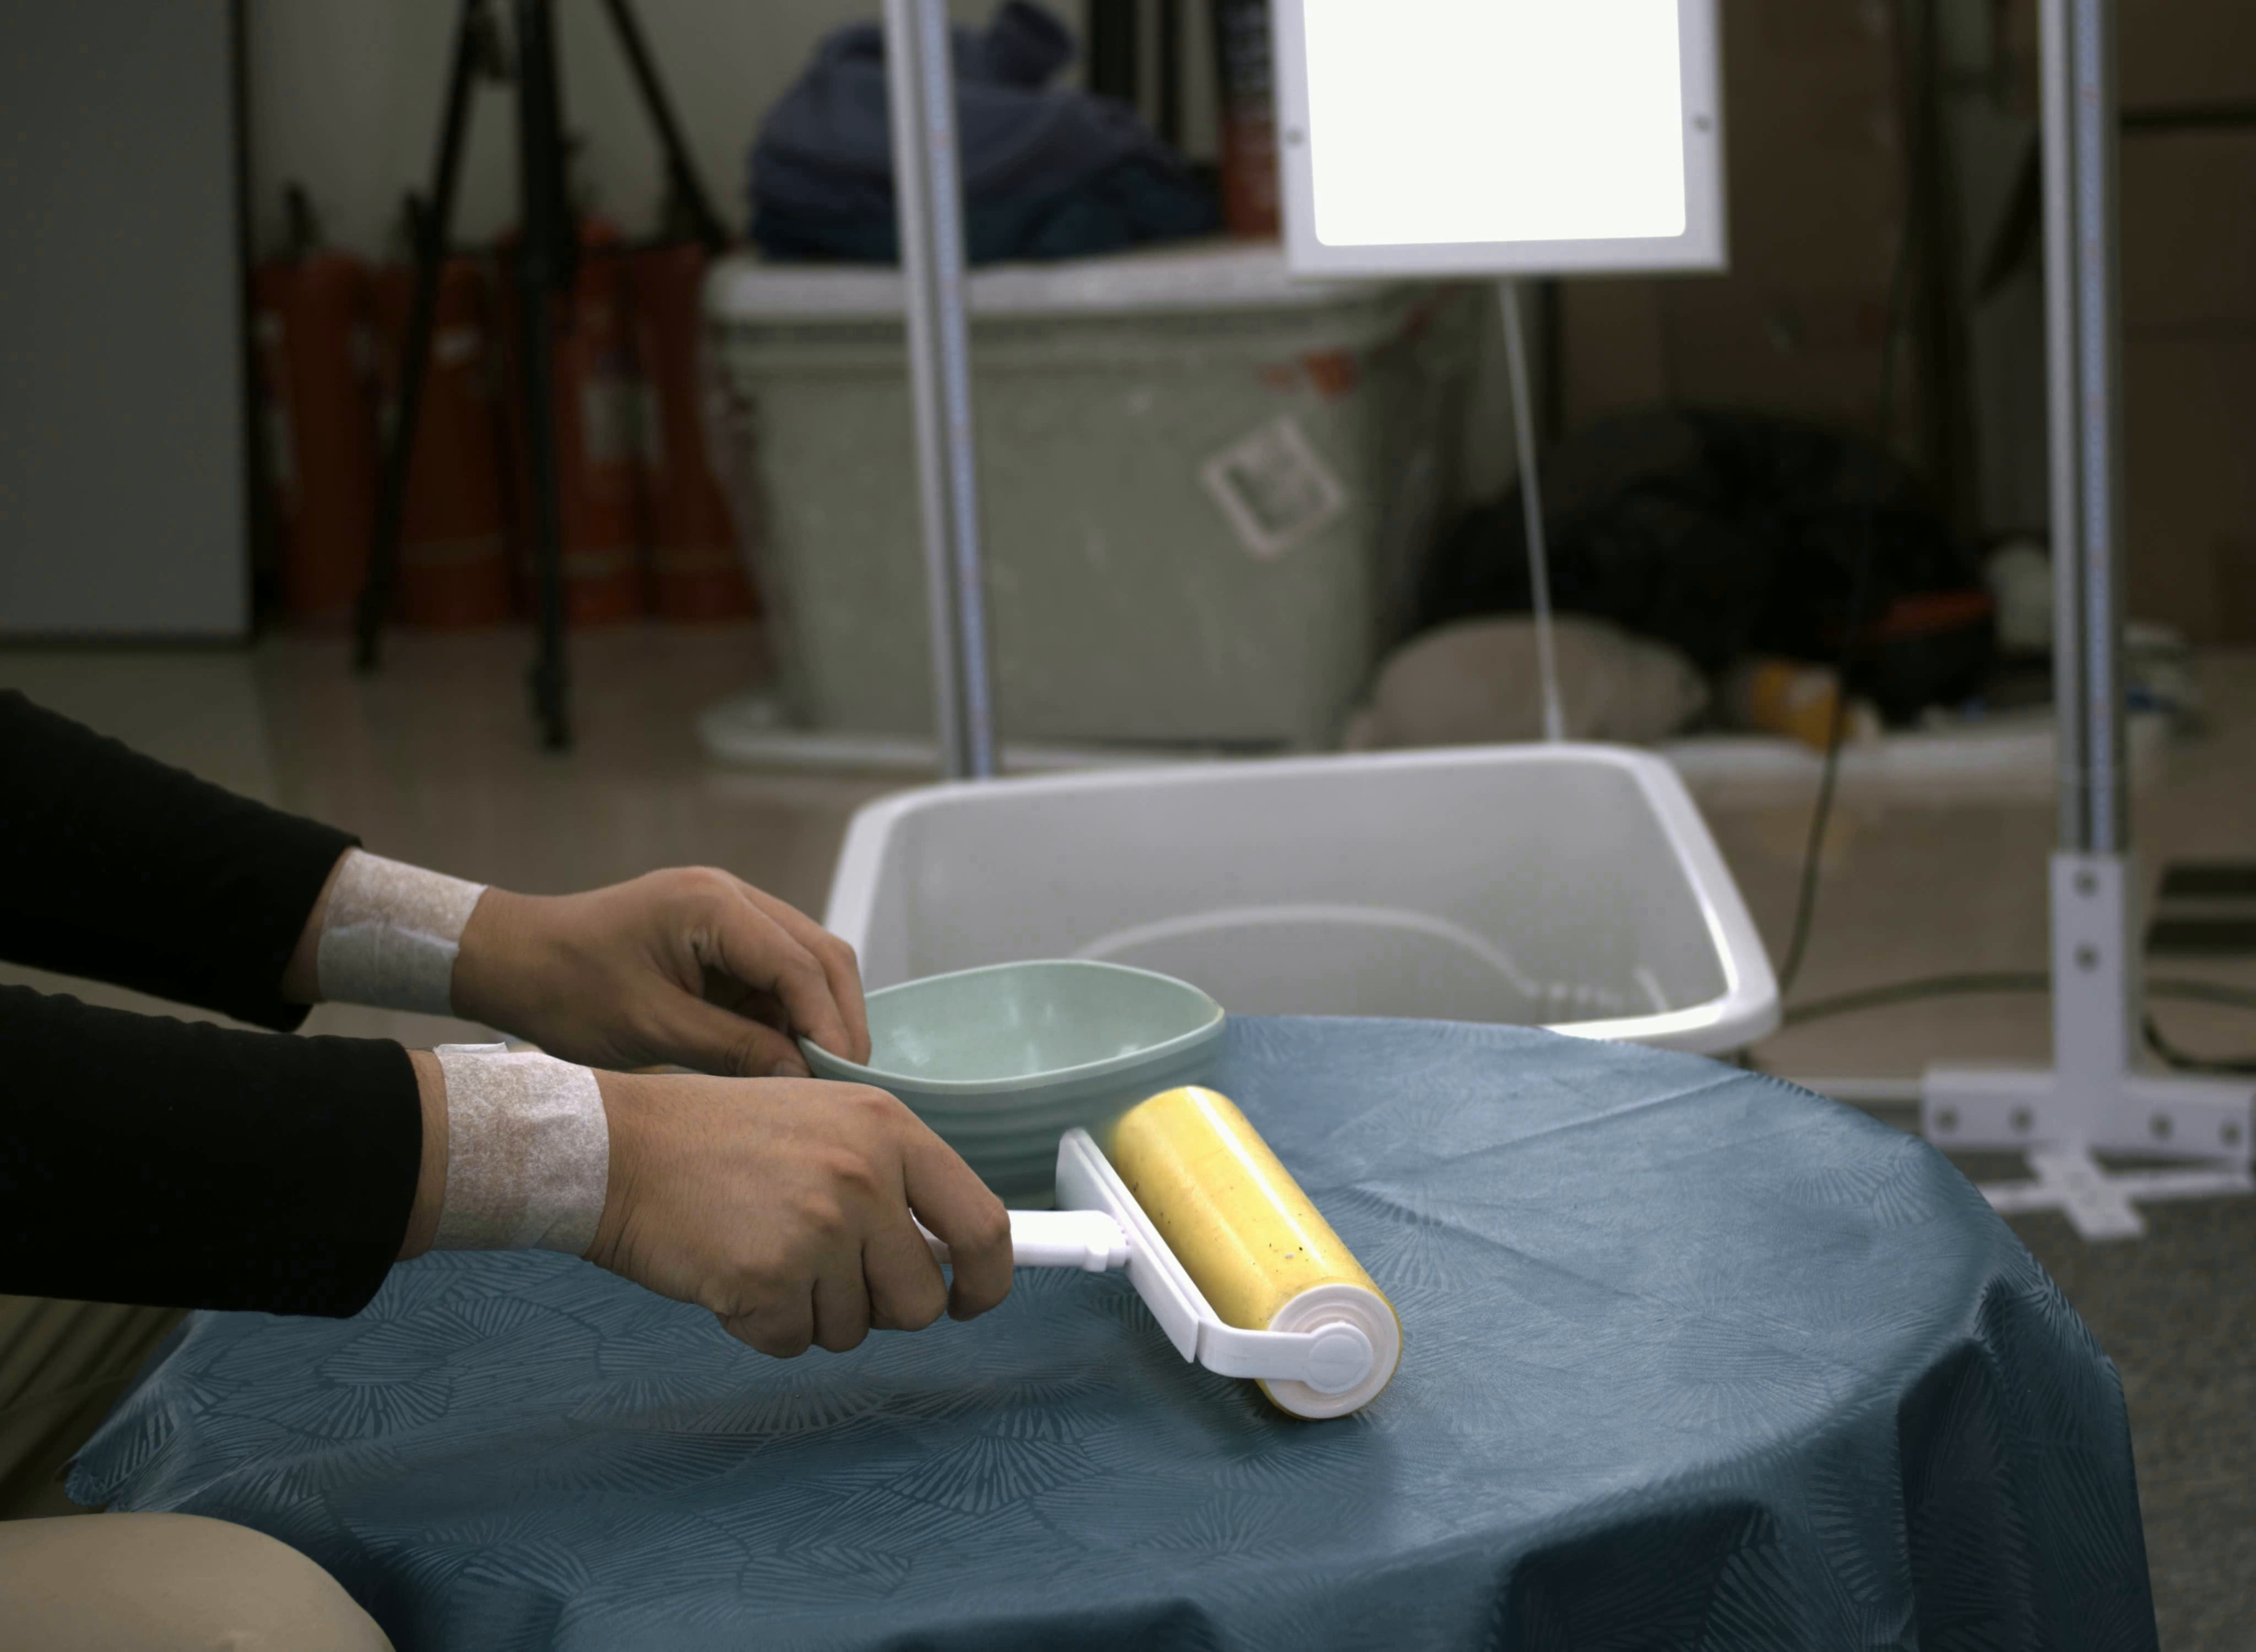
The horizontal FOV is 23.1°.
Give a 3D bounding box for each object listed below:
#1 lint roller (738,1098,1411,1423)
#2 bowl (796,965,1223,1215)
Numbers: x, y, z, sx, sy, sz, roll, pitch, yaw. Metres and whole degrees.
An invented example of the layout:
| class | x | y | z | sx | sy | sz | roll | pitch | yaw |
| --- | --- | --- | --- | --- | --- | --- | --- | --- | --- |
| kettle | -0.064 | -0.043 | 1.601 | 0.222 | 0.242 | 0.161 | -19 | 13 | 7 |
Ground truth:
| class | x | y | z | sx | sy | sz | roll | pitch | yaw |
| --- | --- | --- | --- | --- | --- | --- | --- | --- | --- |
| lint roller | -0.025 | 0.120 | 1.703 | 0.189 | 0.052 | 0.176 | 14 | 13 | -21 |
| bowl | -0.040 | 0.095 | 1.921 | 0.151 | 0.059 | 0.151 | -3 | 13 | -1 |
